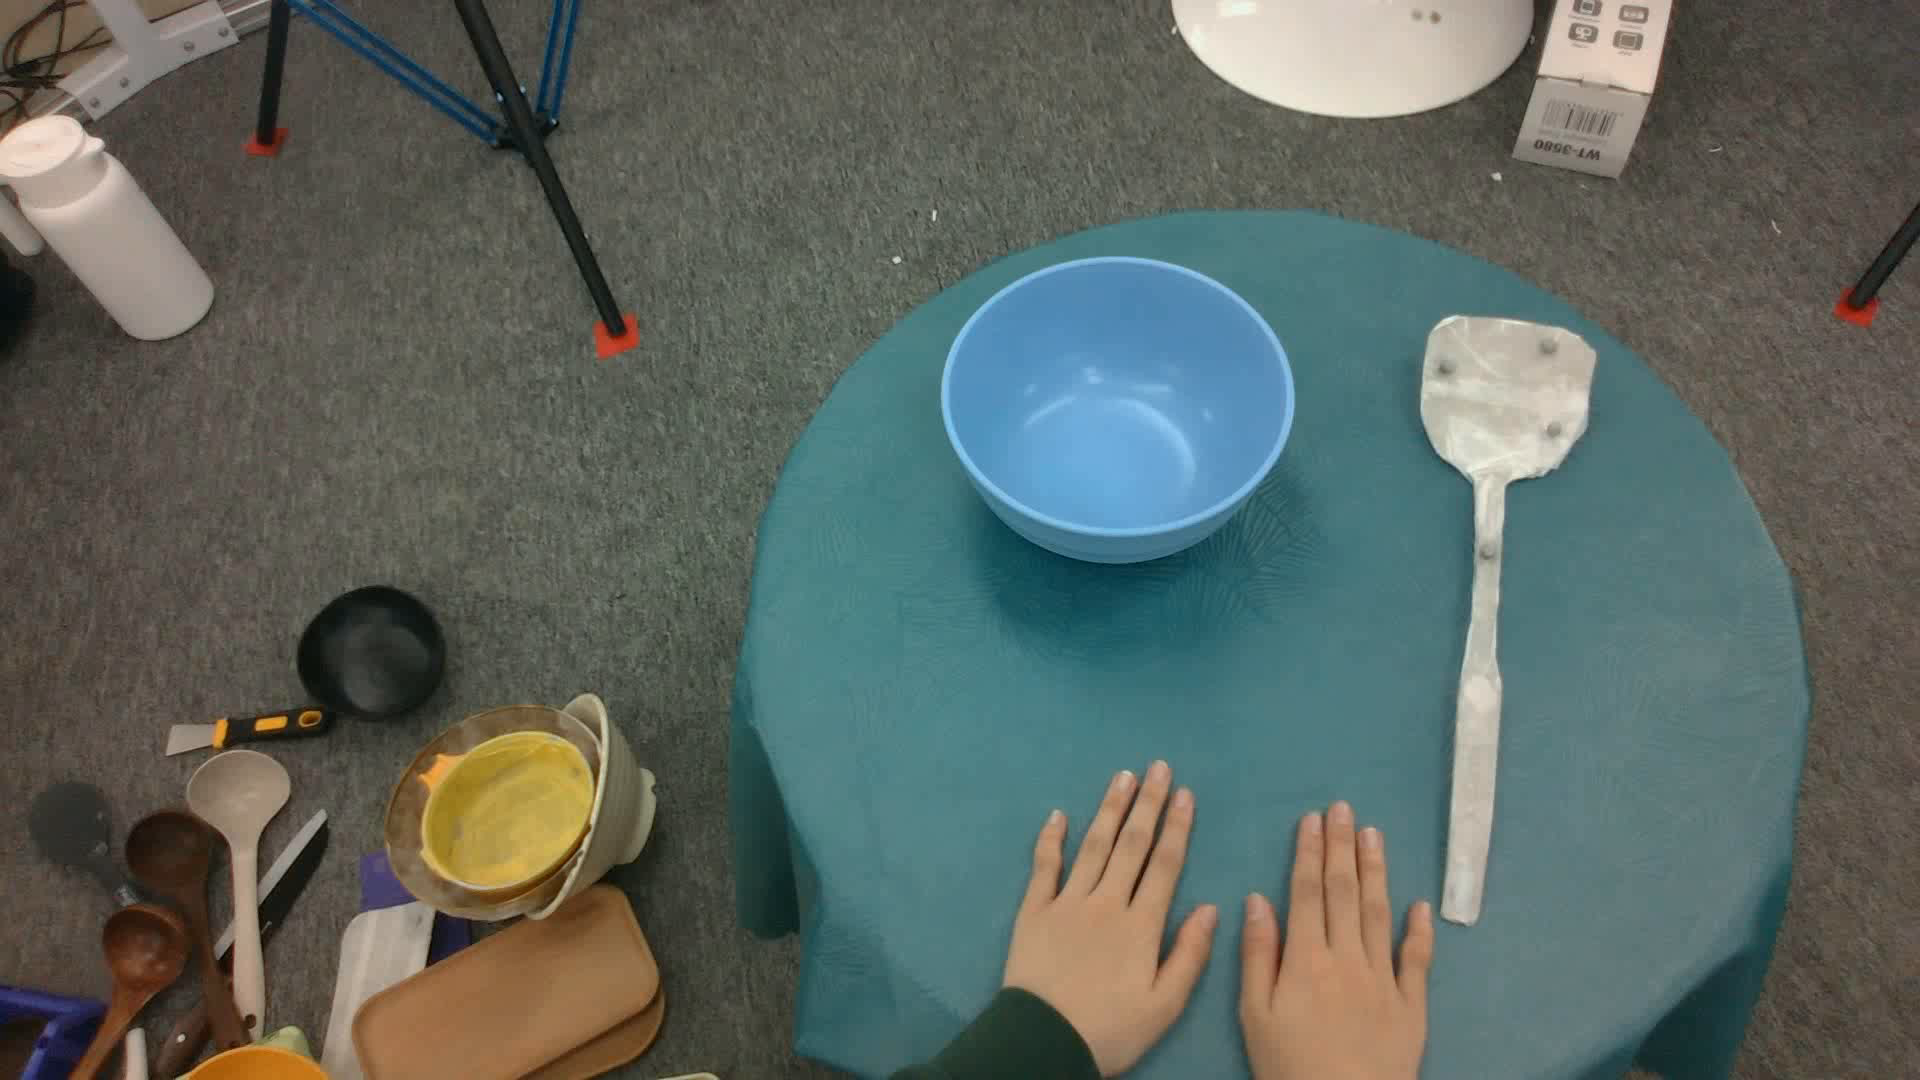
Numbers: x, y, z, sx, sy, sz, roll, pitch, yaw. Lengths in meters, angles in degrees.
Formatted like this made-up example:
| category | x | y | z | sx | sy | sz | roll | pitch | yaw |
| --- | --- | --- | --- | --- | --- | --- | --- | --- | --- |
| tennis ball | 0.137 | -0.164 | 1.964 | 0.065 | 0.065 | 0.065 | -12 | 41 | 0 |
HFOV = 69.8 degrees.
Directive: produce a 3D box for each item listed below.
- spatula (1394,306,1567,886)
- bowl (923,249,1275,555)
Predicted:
| category | x | y | z | sx | sy | sz | roll | pitch | yaw |
| --- | --- | --- | --- | --- | --- | --- | --- | --- | --- |
| spatula | 0.281 | 0.019 | 0.778 | 0.098 | 0.044 | 0.366 | 13 | 59 | 8 |
| bowl | 0.078 | -0.066 | 0.806 | 0.196 | 0.095 | 0.197 | 0 | 57 | 1 |
